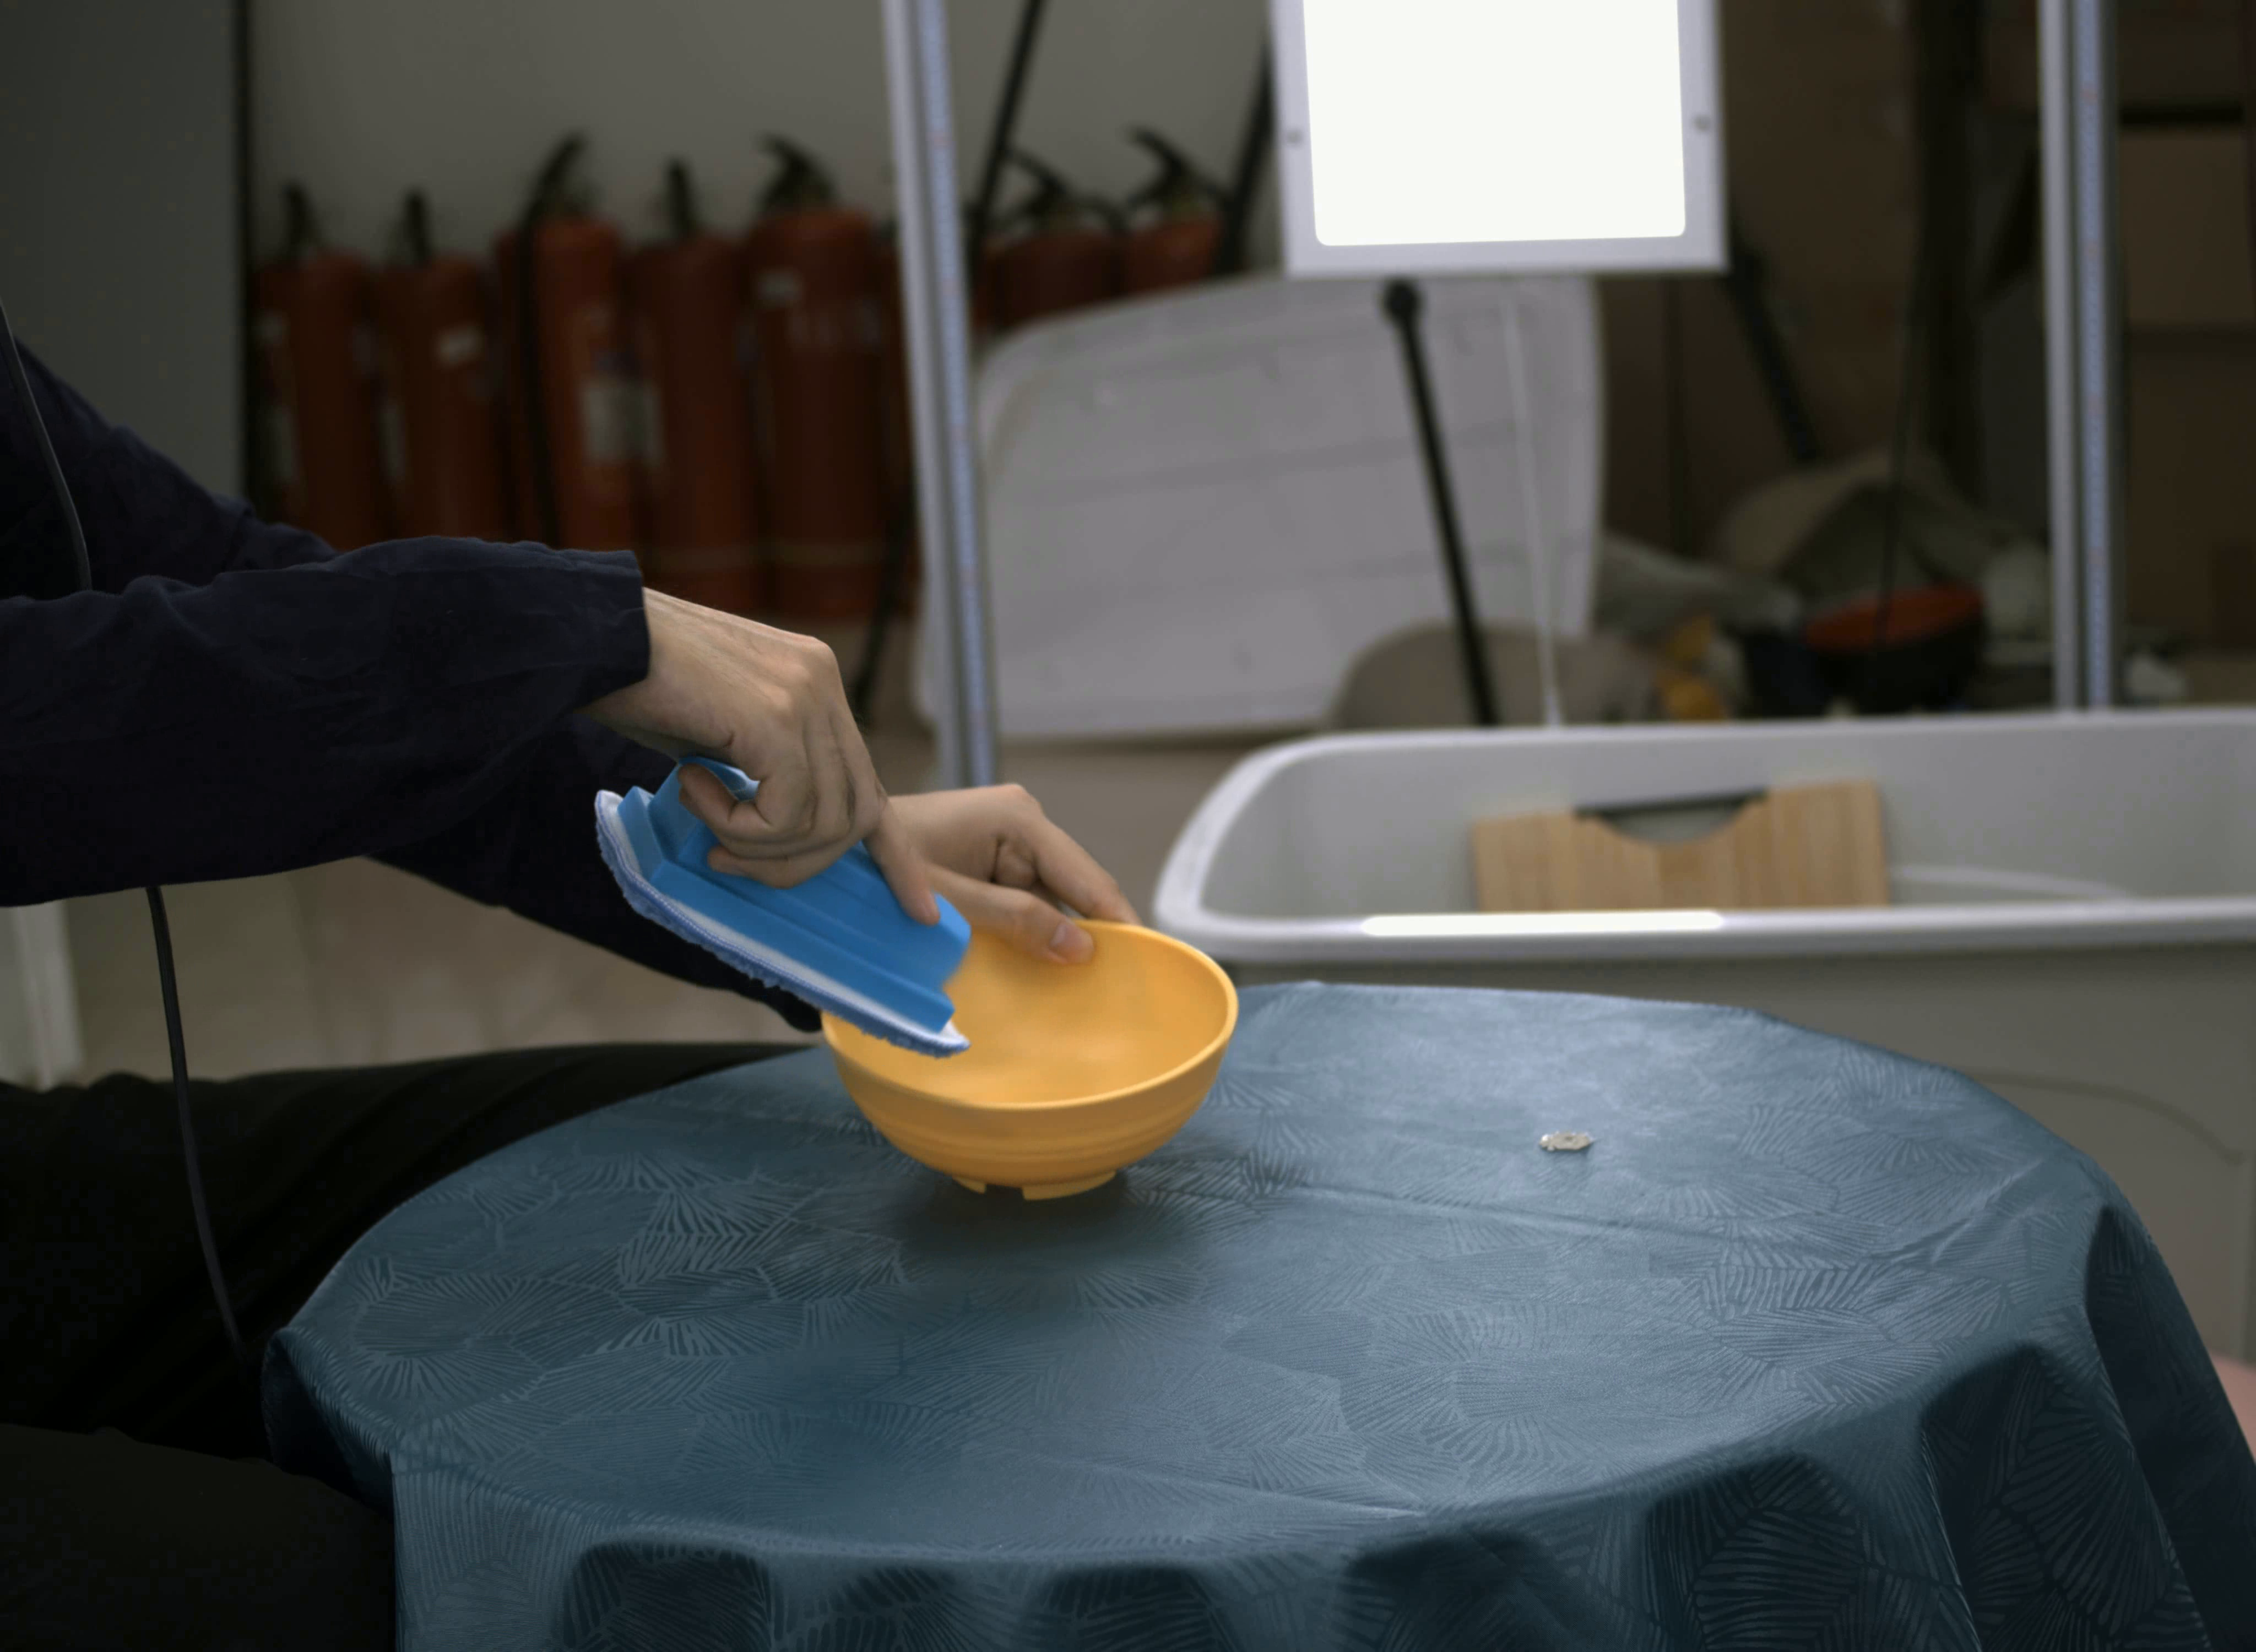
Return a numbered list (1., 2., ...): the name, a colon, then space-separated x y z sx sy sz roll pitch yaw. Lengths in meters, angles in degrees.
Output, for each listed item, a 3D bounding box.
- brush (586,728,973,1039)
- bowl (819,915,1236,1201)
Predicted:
1. brush: -0.109 0.015 1.822 0.142 0.056 0.084 32 9 -25
2. bowl: -0.035 0.089 1.917 0.145 0.060 0.145 -2 26 0
